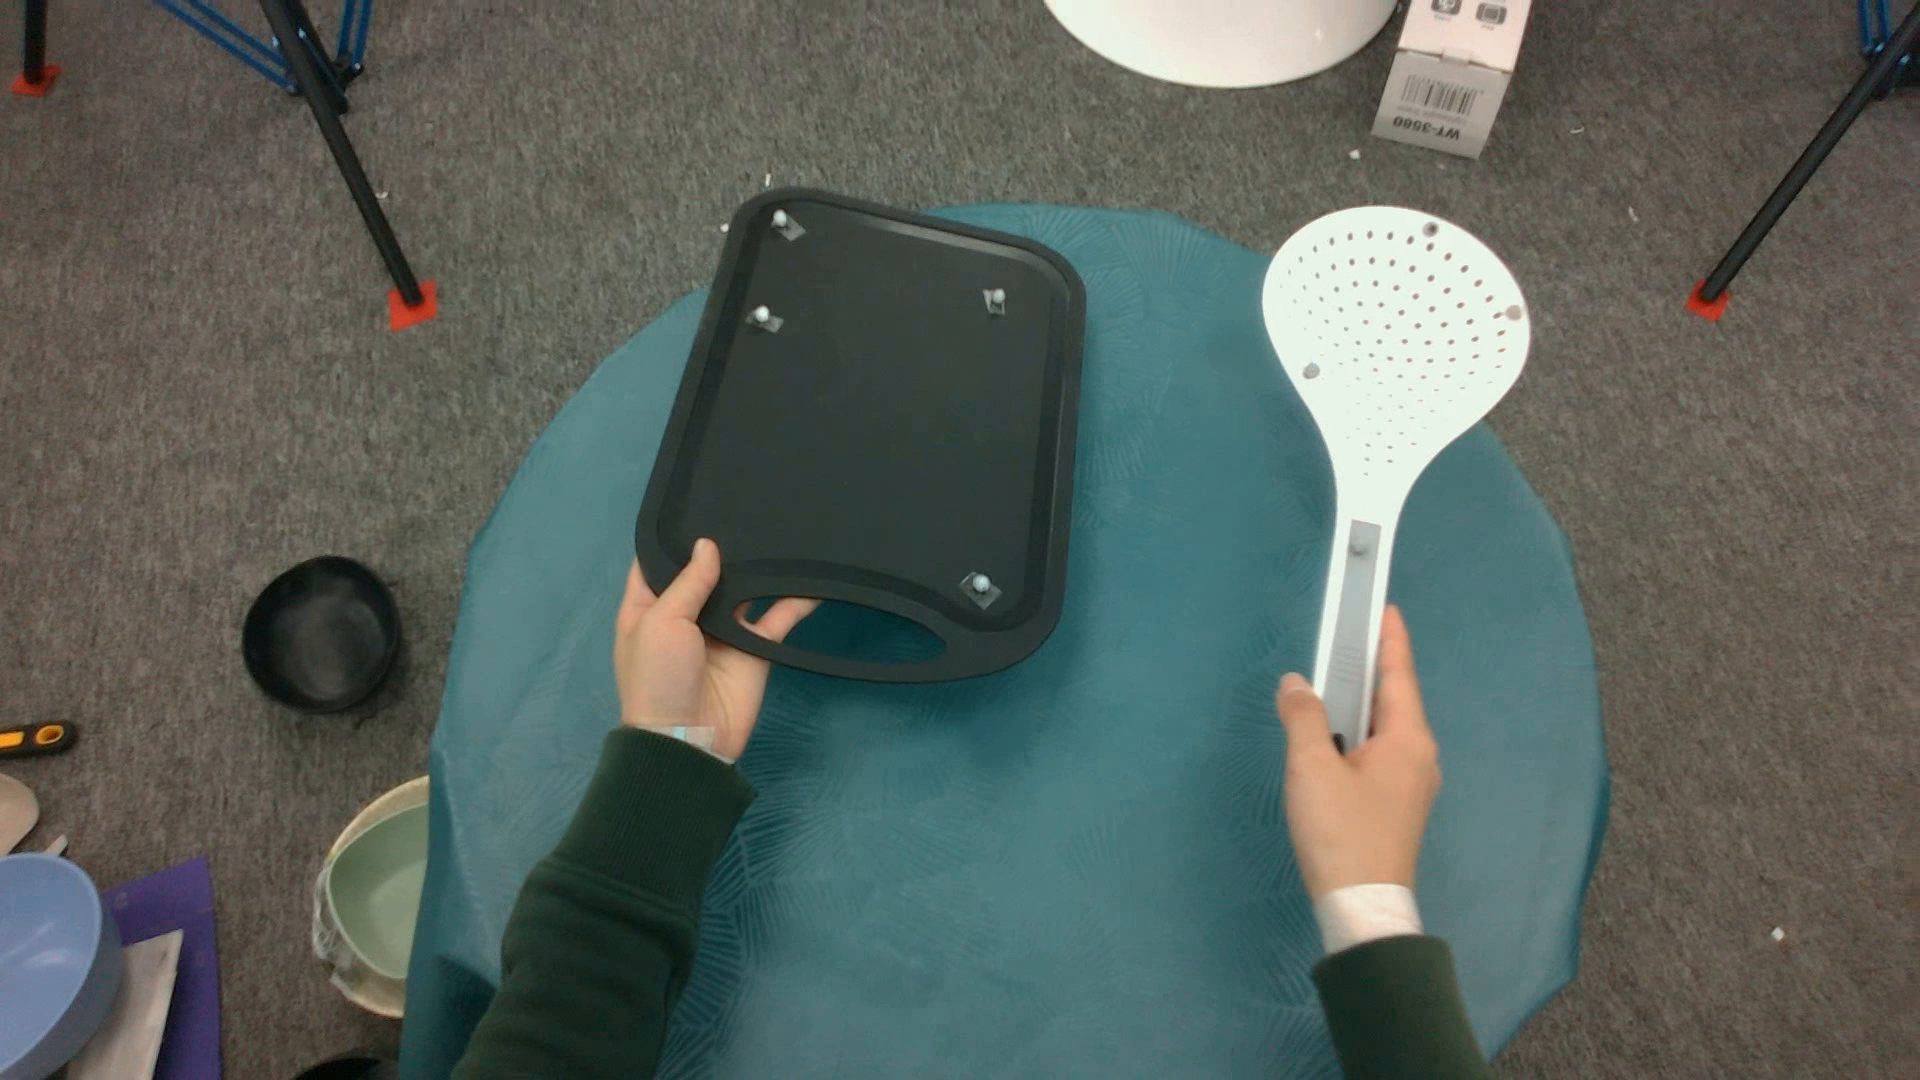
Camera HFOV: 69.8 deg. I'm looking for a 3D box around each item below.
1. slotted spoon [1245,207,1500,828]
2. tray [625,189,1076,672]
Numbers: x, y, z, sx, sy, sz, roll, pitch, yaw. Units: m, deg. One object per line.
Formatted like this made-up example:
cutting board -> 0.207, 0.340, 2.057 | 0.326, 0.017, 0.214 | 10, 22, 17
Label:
slotted spoon -> 0.191, -0.026, 0.681 | 0.136, 0.045, 0.351 | 14, 58, 3
tray -> -0.046, -0.071, 0.726 | 0.211, 0.010, 0.327 | 12, 51, -5
